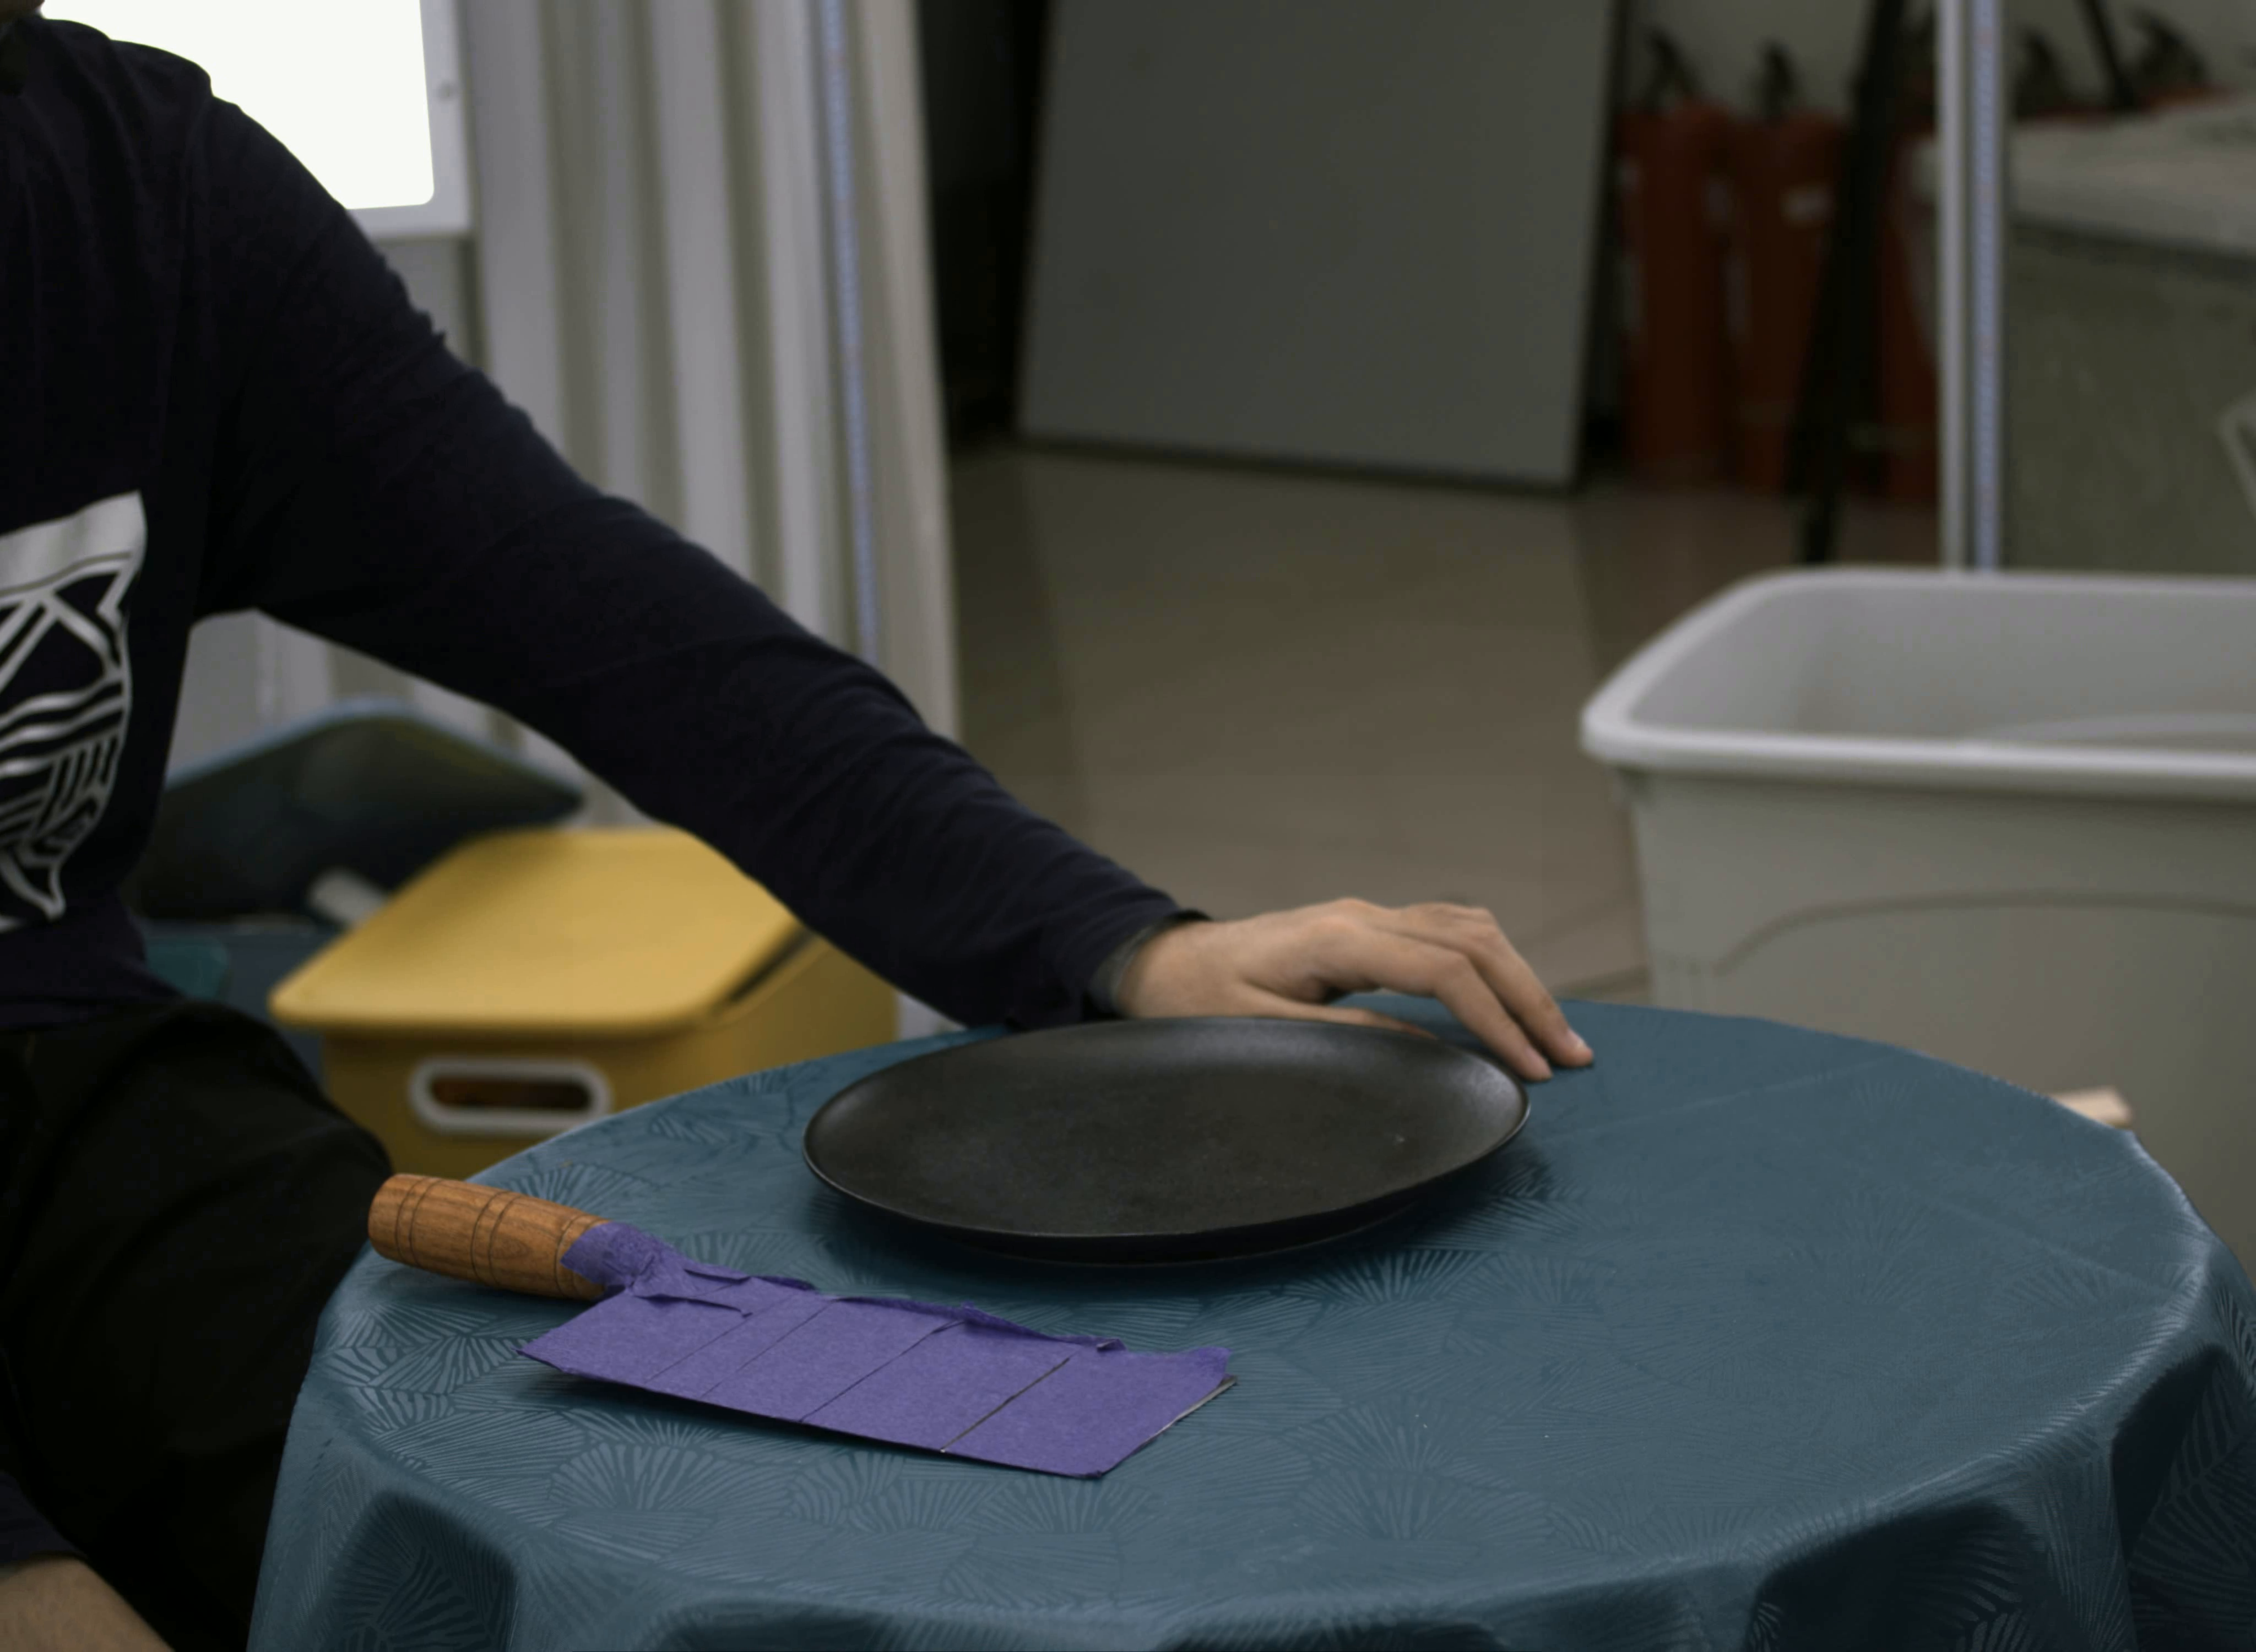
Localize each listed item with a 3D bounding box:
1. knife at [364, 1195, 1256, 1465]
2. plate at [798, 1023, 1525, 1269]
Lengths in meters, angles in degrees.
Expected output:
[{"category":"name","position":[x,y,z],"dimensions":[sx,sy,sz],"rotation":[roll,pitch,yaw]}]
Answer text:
[{"category":"knife","position":[-0.118,0.151,1.631],"dimensions":[0.316,0.032,0.102],"rotation":[5,16,31]},{"category":"plate","position":[0.012,0.108,1.781],"dimensions":[0.241,0.024,0.245],"rotation":[-4,13,0]}]
